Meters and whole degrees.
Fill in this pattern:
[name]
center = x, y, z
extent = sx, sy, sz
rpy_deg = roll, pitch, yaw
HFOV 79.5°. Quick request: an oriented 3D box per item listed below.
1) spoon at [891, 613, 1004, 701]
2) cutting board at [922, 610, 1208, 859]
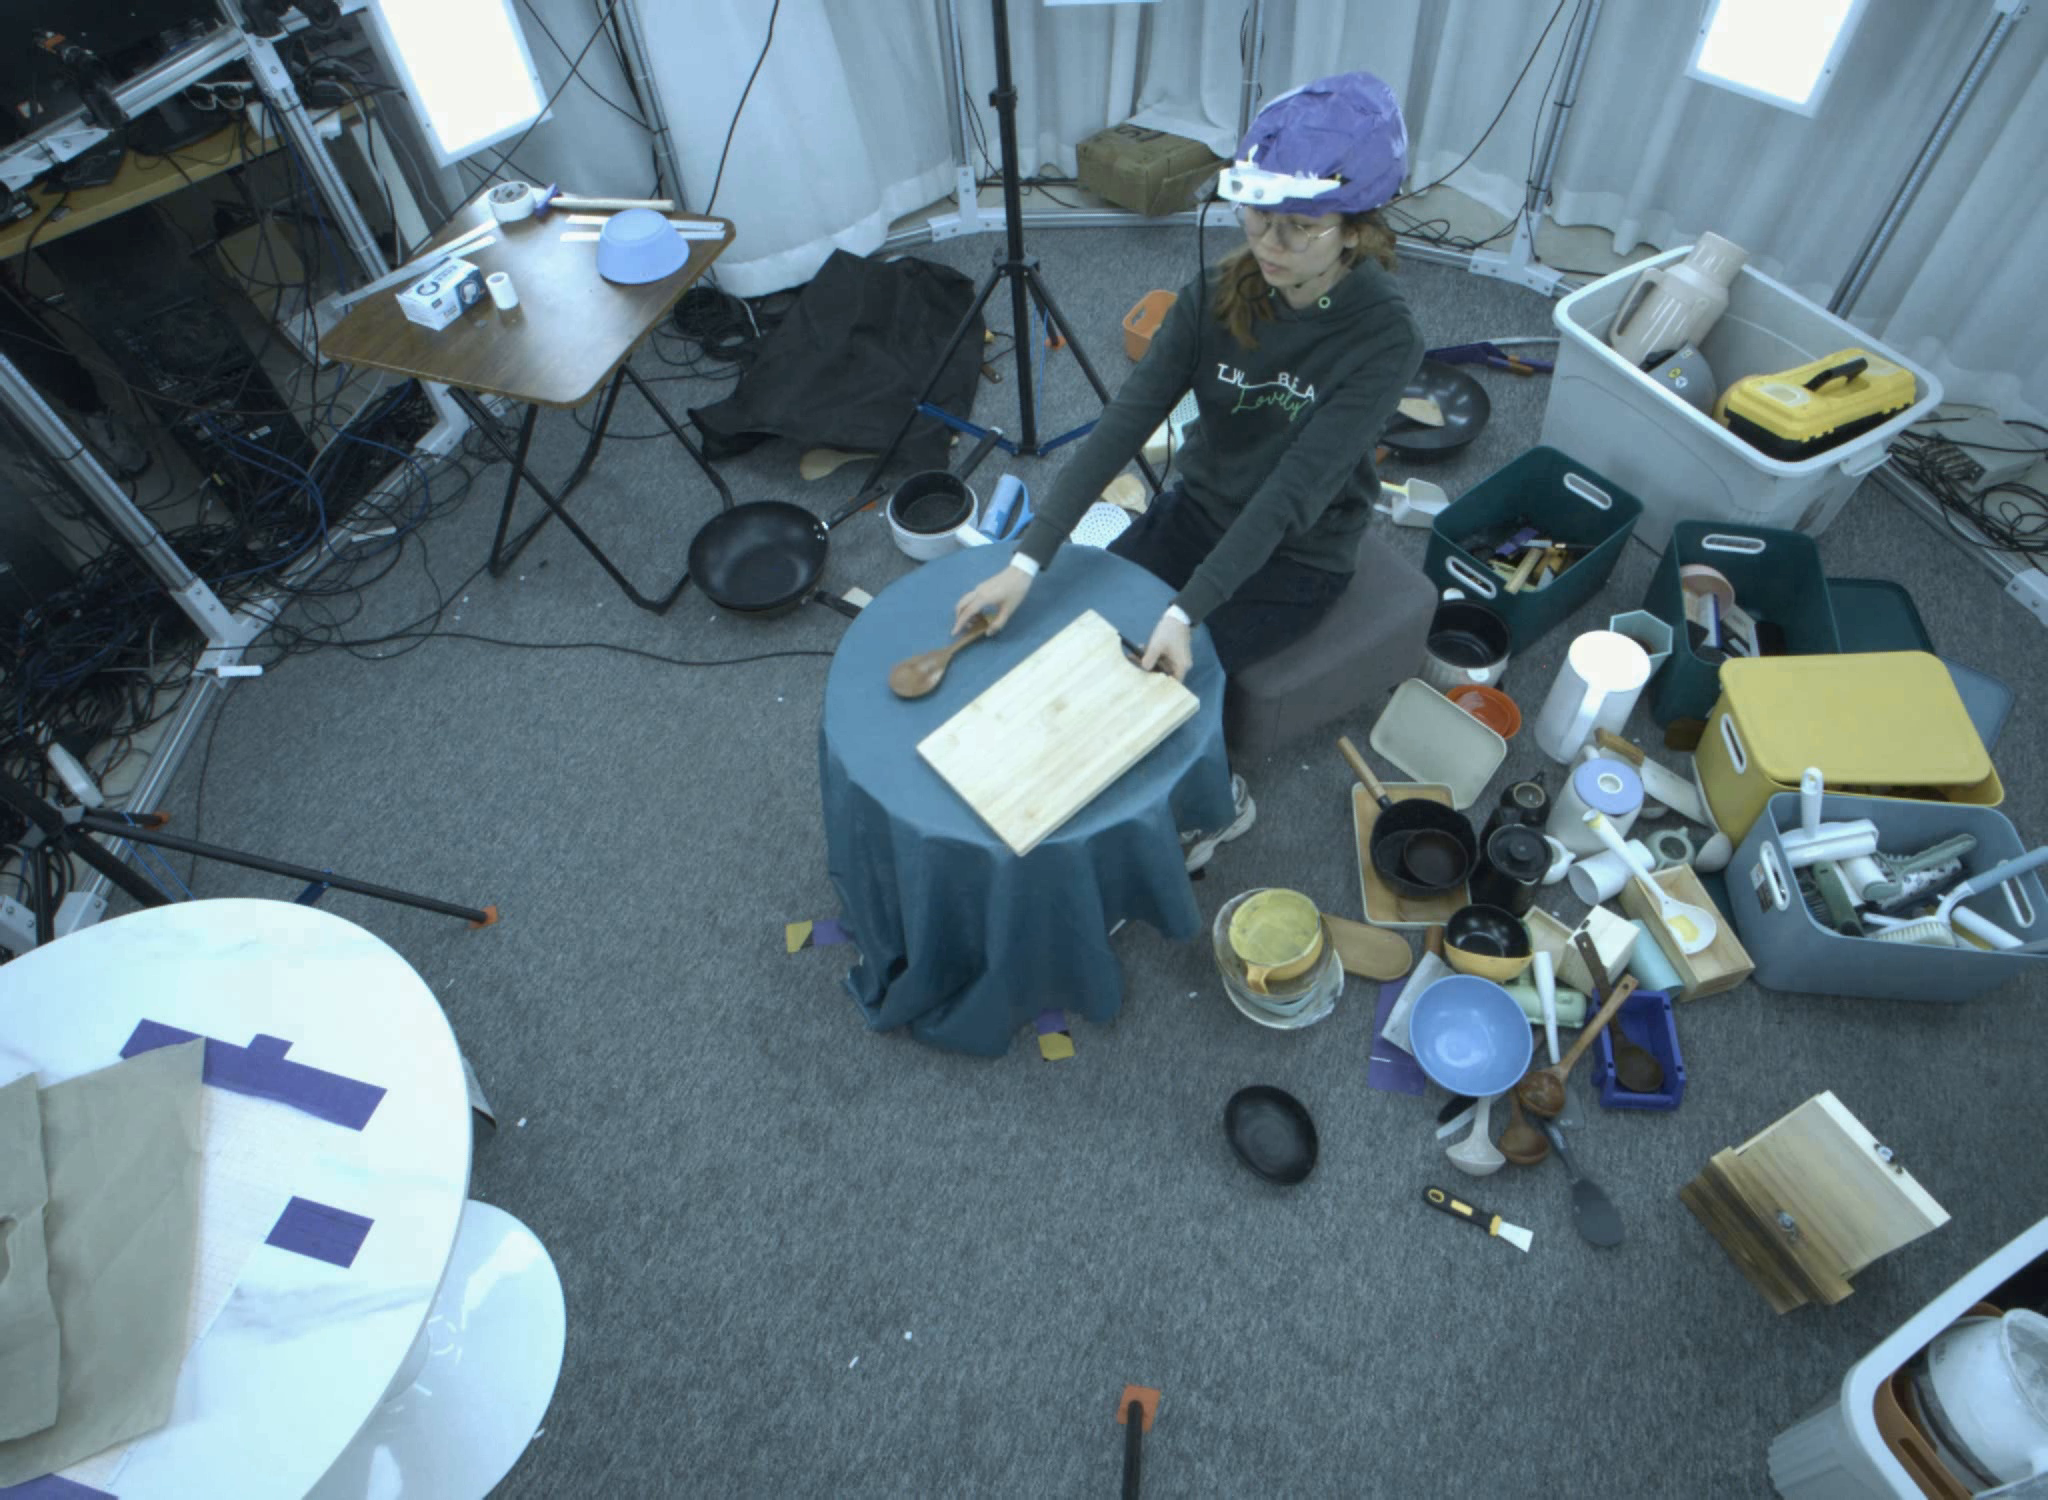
[spoon]
center = -0.113, -0.144, 1.889
extent = 0.217, 0.017, 0.074
rpy_deg = -40, 61, -21
[cutting board]
center = 0.055, -0.031, 1.777
extent = 0.350, 0.024, 0.246
rpy_deg = -40, 63, -14
